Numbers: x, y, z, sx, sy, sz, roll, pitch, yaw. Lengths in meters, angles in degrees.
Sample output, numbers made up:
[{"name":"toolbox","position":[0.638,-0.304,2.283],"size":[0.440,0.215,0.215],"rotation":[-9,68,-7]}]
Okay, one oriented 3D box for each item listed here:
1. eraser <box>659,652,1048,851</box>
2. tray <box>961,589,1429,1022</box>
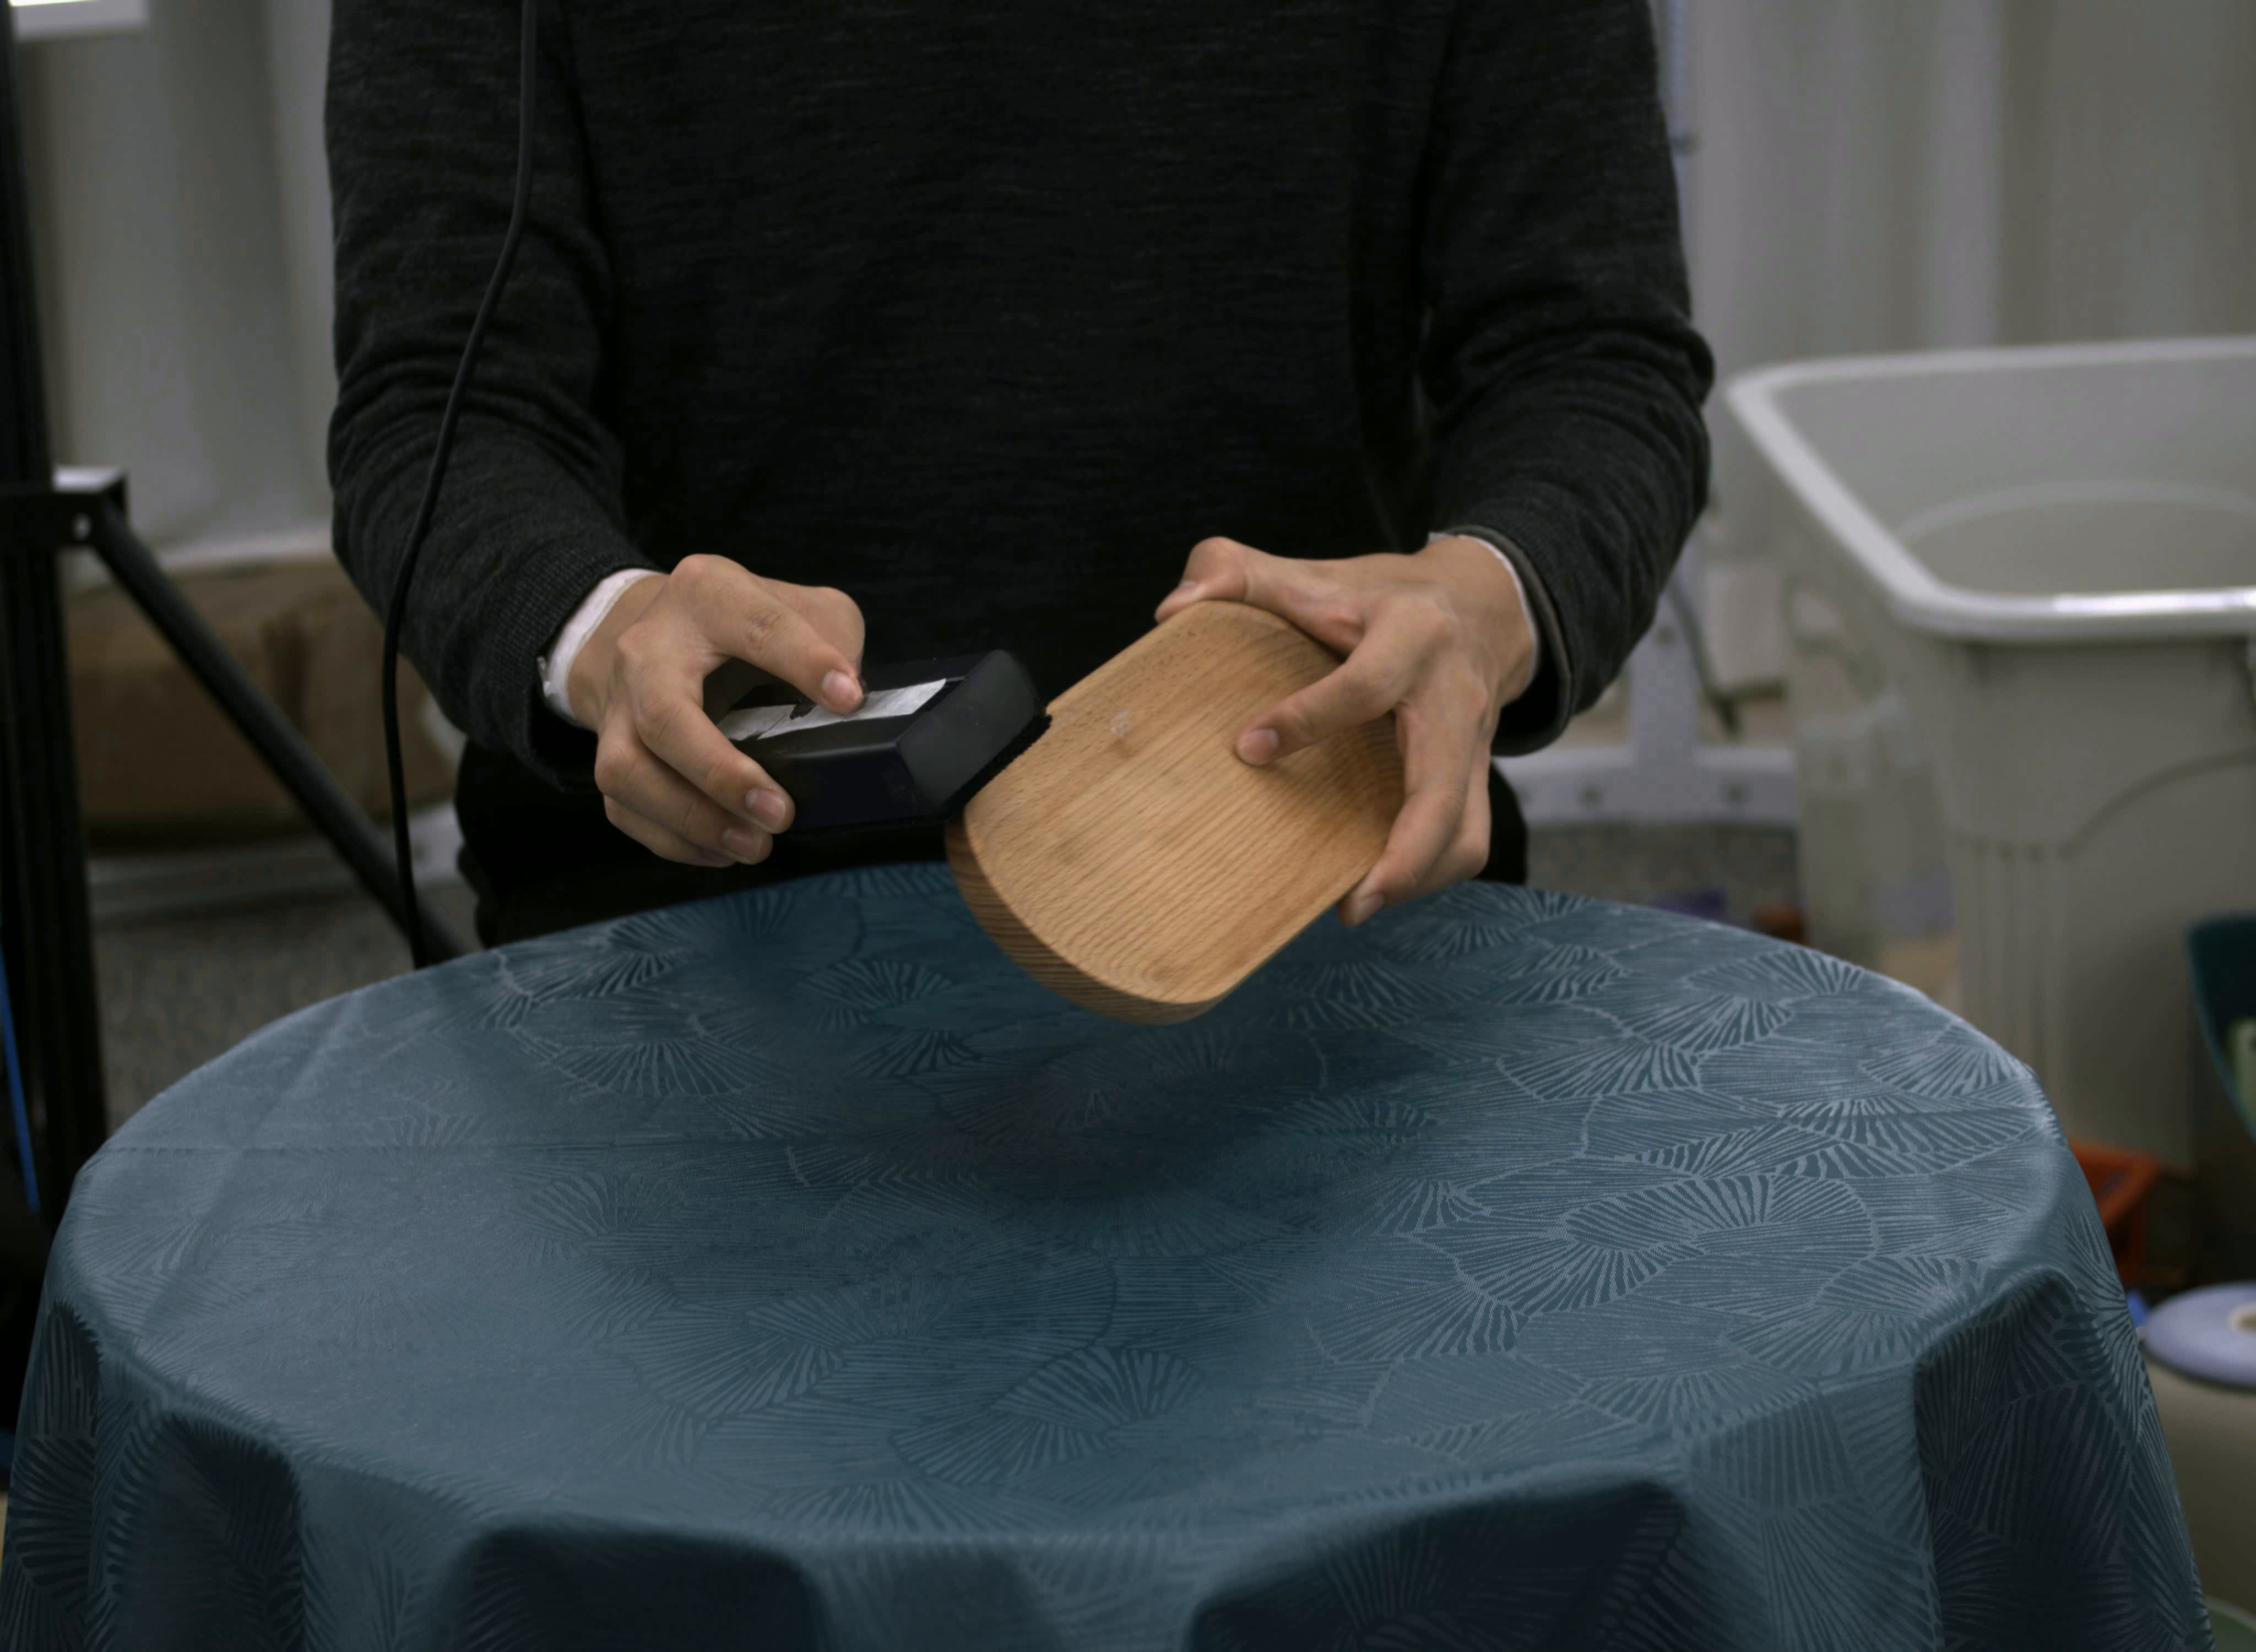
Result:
[{"name":"eraser","position":[-0.080,-0.021,1.548],"size":[0.053,0.030,0.128],"rotation":[-41,20,-34]},{"name":"tray","position":[0.022,-0.008,1.590],"size":[0.102,0.020,0.228],"rotation":[46,32,4]}]
